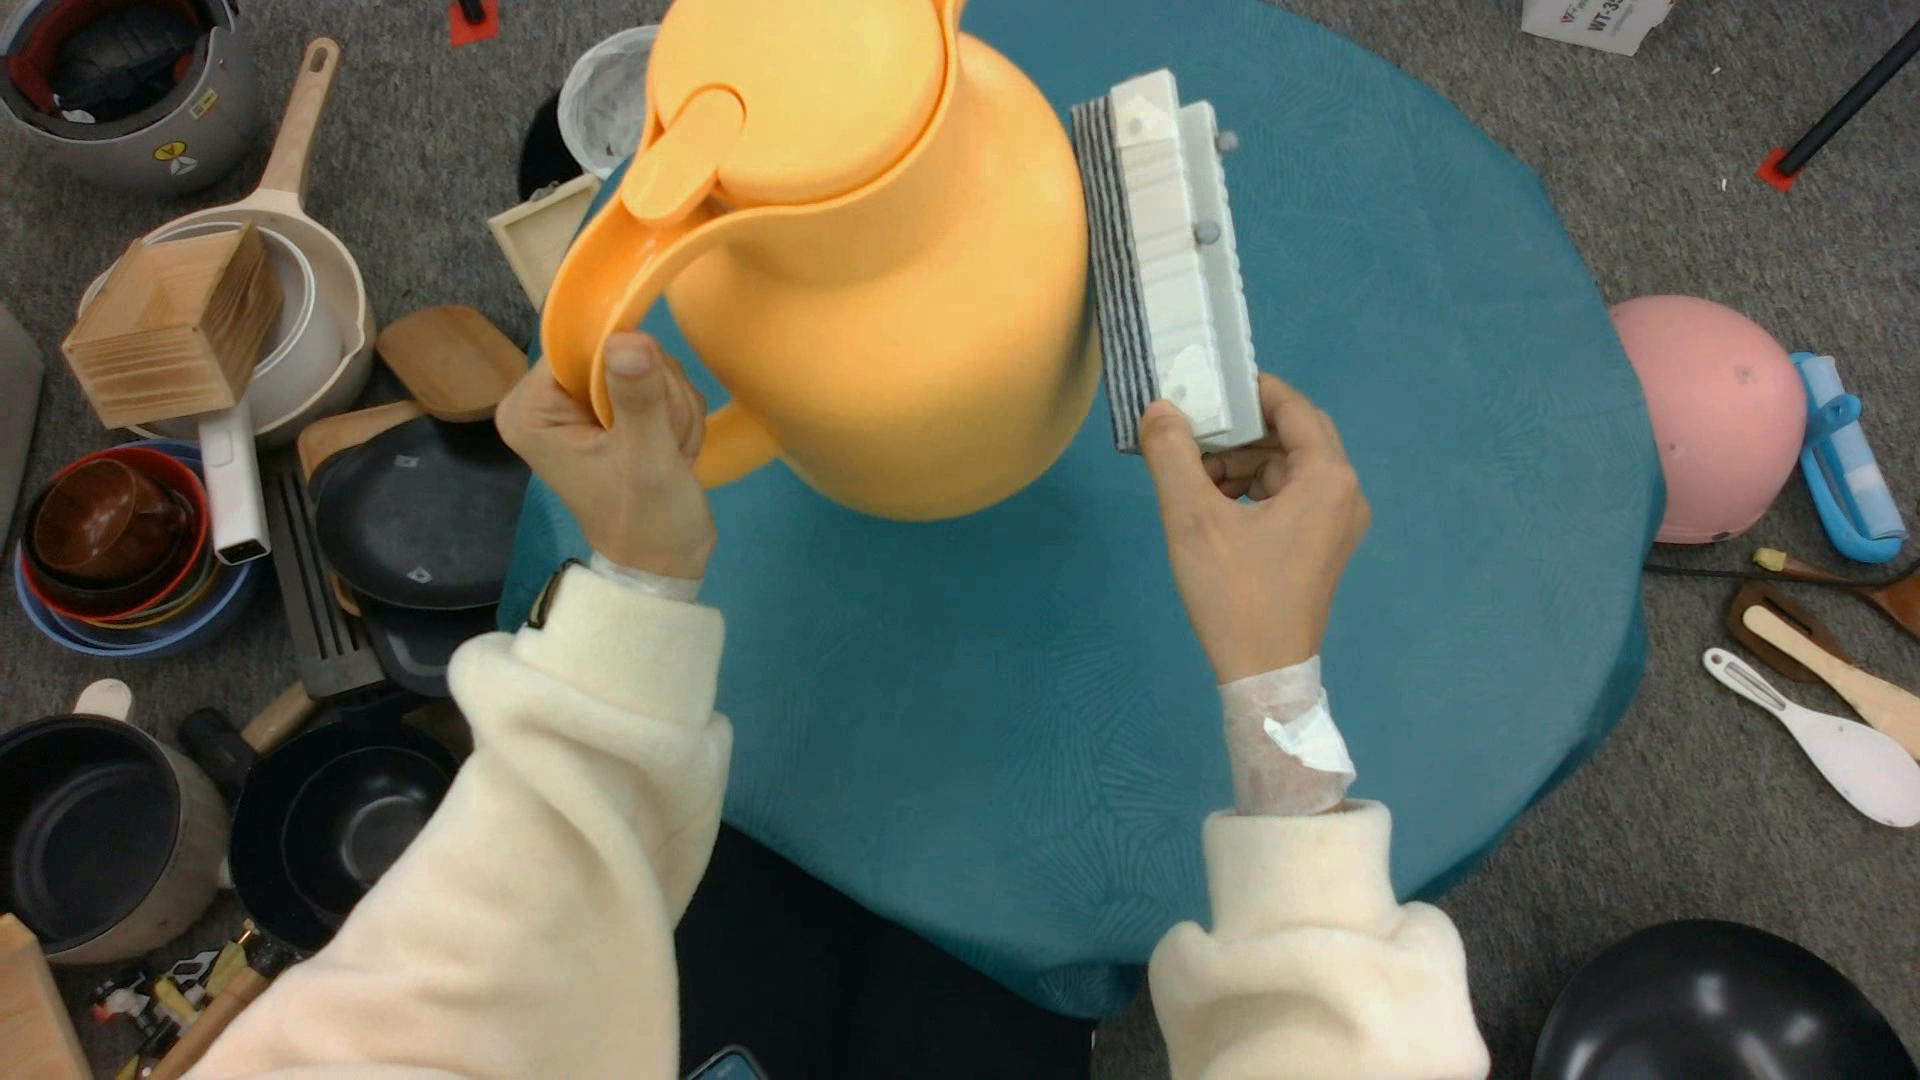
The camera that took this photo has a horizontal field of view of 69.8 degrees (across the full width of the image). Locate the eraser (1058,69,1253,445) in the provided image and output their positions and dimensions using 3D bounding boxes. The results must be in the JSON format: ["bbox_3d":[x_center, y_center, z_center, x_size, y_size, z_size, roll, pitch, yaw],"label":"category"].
[{"bbox_3d":[0.075,-0.105,0.530,0.046,0.050,0.134,-12,85,27],"label":"eraser"}]

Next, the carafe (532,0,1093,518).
[{"bbox_3d":[-0.050,-0.104,0.521,0.202,0.260,0.163,-44,71,-7],"label":"carafe"}]
